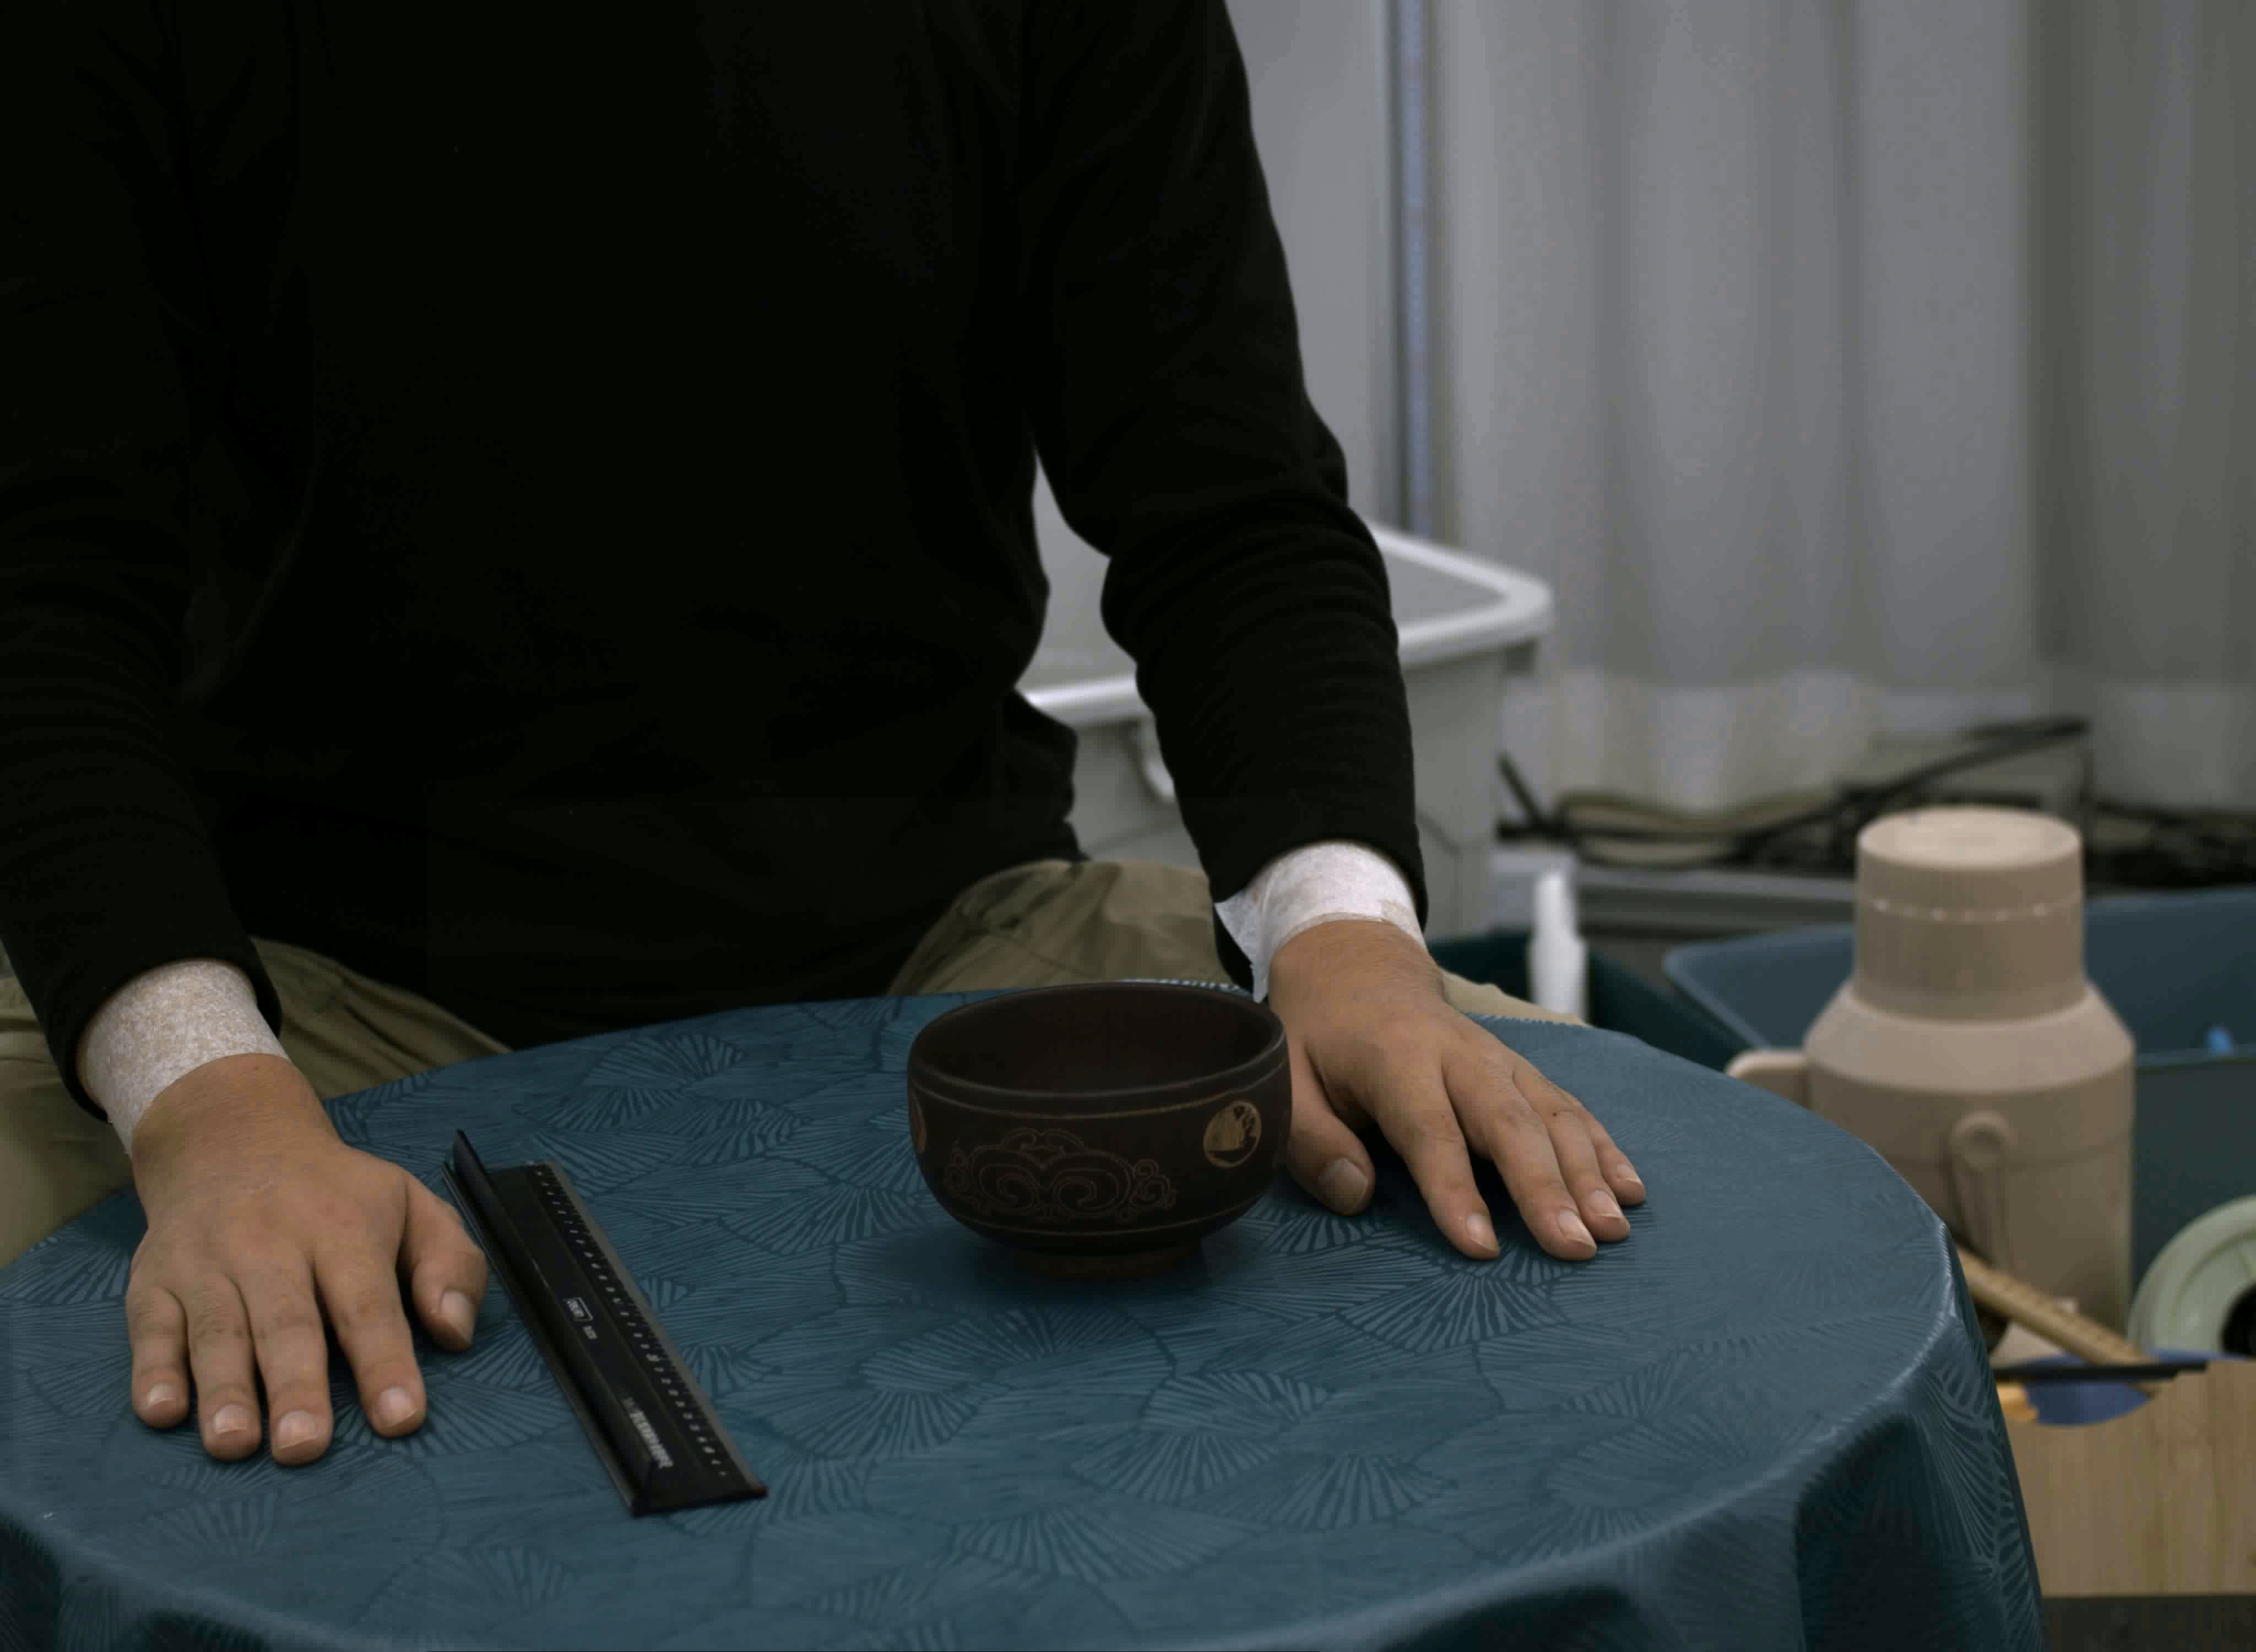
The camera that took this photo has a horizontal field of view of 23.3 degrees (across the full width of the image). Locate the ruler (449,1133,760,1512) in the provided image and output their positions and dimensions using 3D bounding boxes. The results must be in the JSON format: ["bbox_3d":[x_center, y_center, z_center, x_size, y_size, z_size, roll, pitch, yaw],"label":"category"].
[{"bbox_3d":[-0.158,0.141,1.618,0.039,0.017,0.315,-2,14,-16],"label":"ruler"}]

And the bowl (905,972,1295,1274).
[{"bbox_3d":[-0.008,0.093,1.652,0.117,0.069,0.119,-2,15,0],"label":"bowl"}]
